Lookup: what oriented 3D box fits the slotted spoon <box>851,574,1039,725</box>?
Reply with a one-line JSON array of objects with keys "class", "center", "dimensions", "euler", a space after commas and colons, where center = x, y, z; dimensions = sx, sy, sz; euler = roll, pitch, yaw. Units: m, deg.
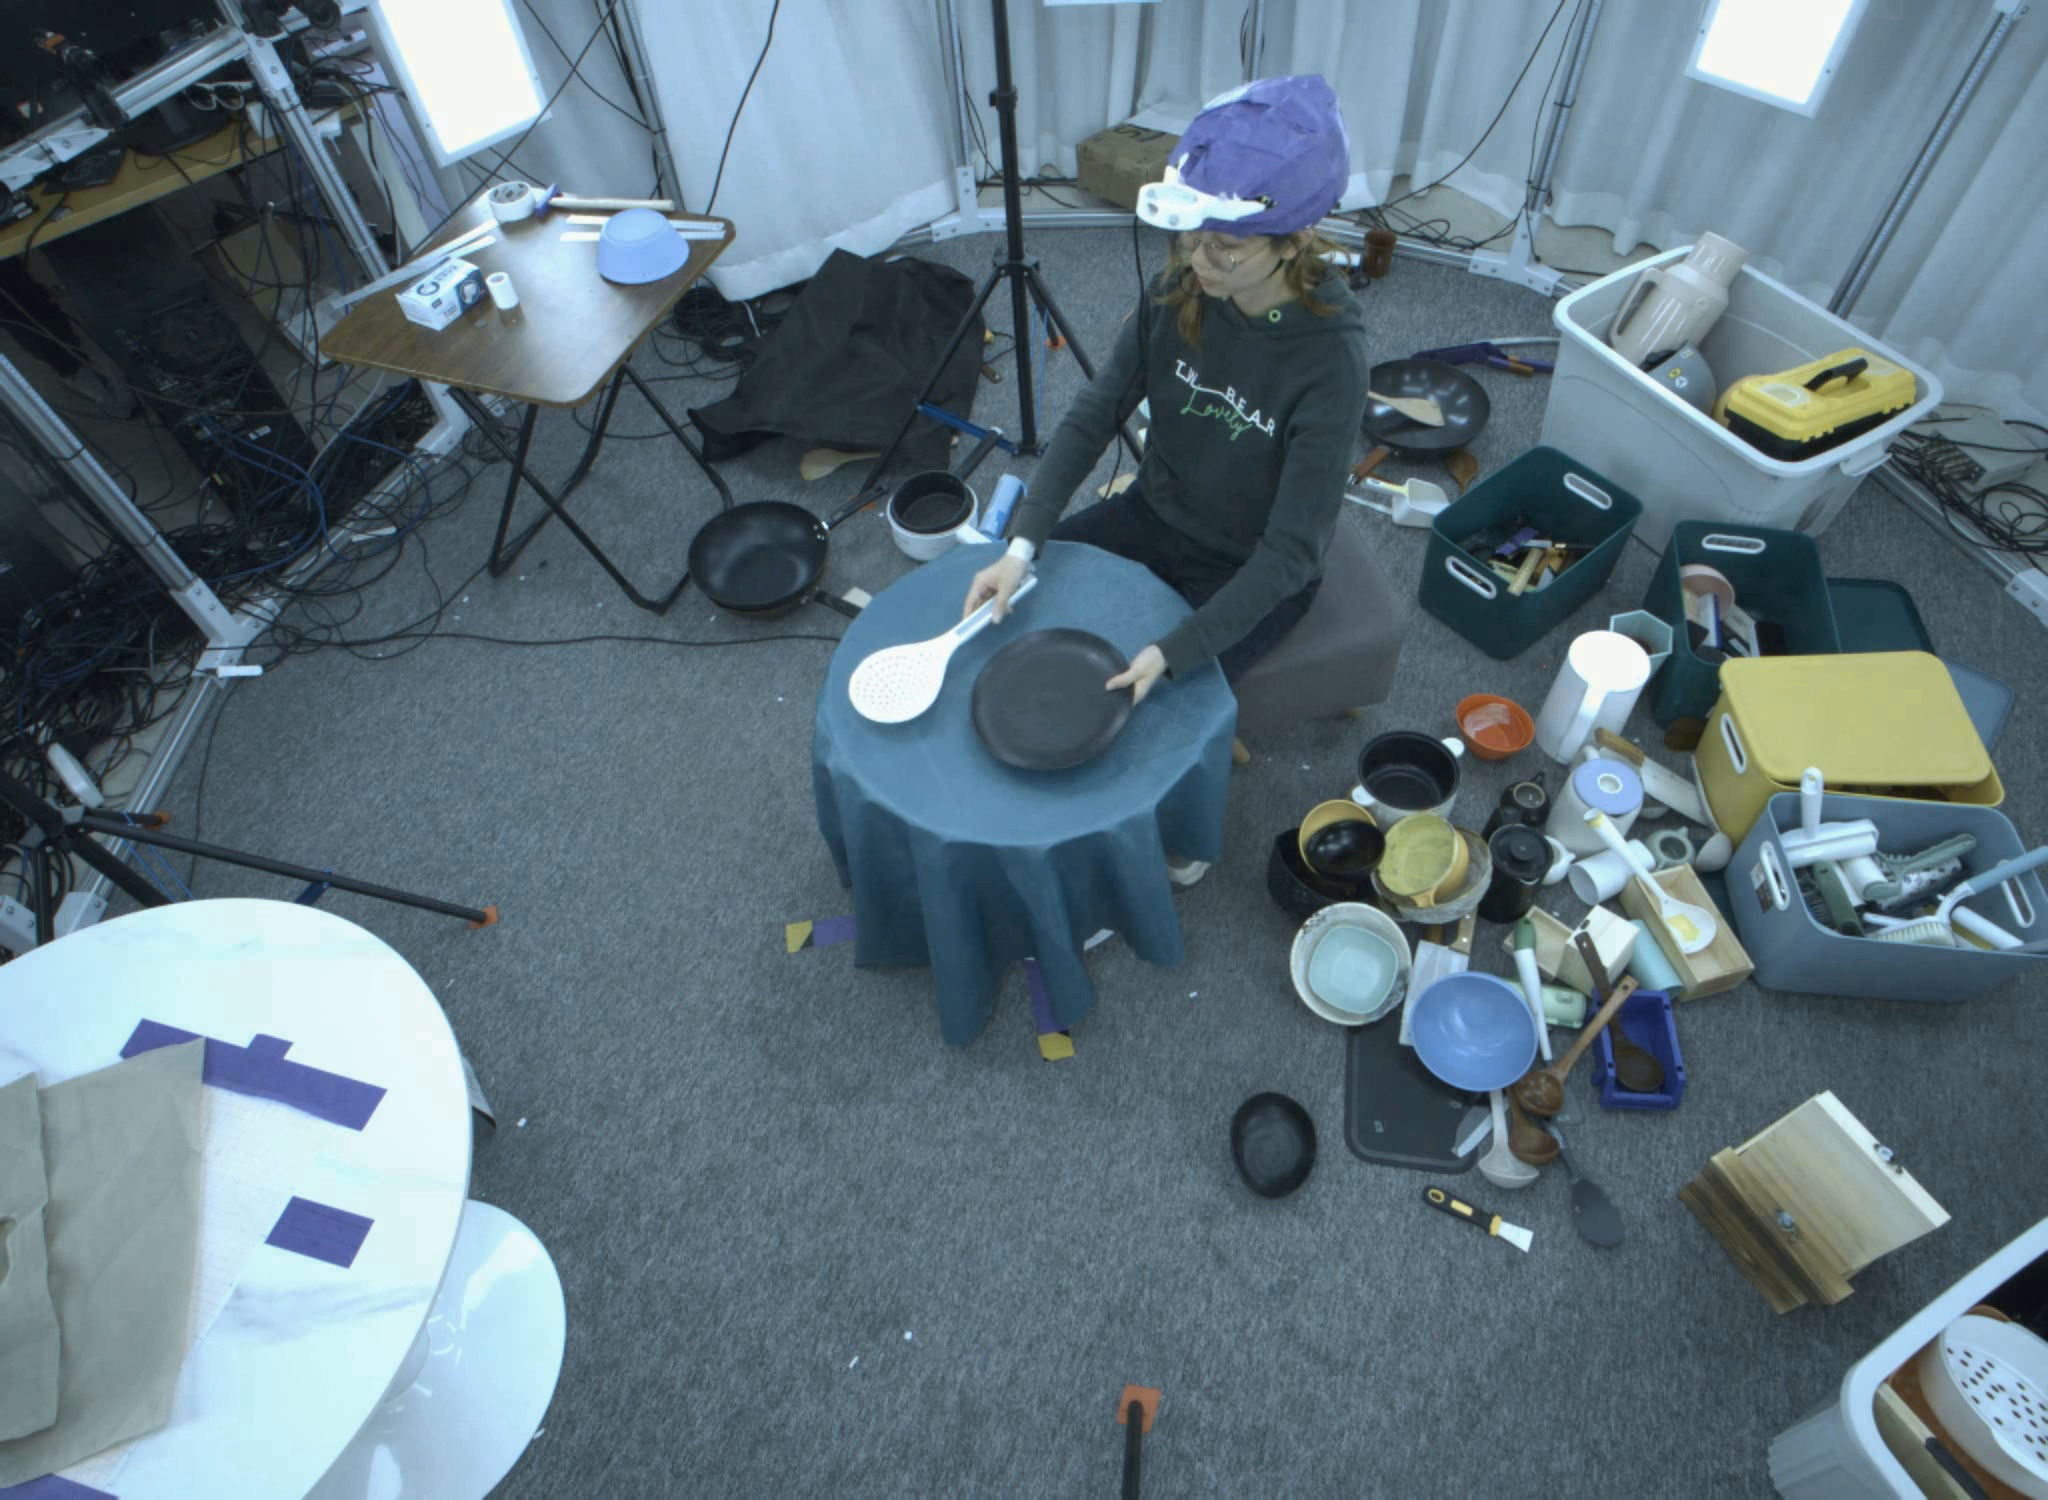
[{"class": "slotted spoon", "center": [-0.111, -0.158, 1.859], "dimensions": [0.351, 0.046, 0.134], "euler": [-43, 66, -15]}]

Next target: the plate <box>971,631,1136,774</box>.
[{"class": "plate", "center": [0.042, -0.068, 1.789], "dimensions": [0.243, 0.024, 0.242], "euler": [-4, 60, 9]}]
